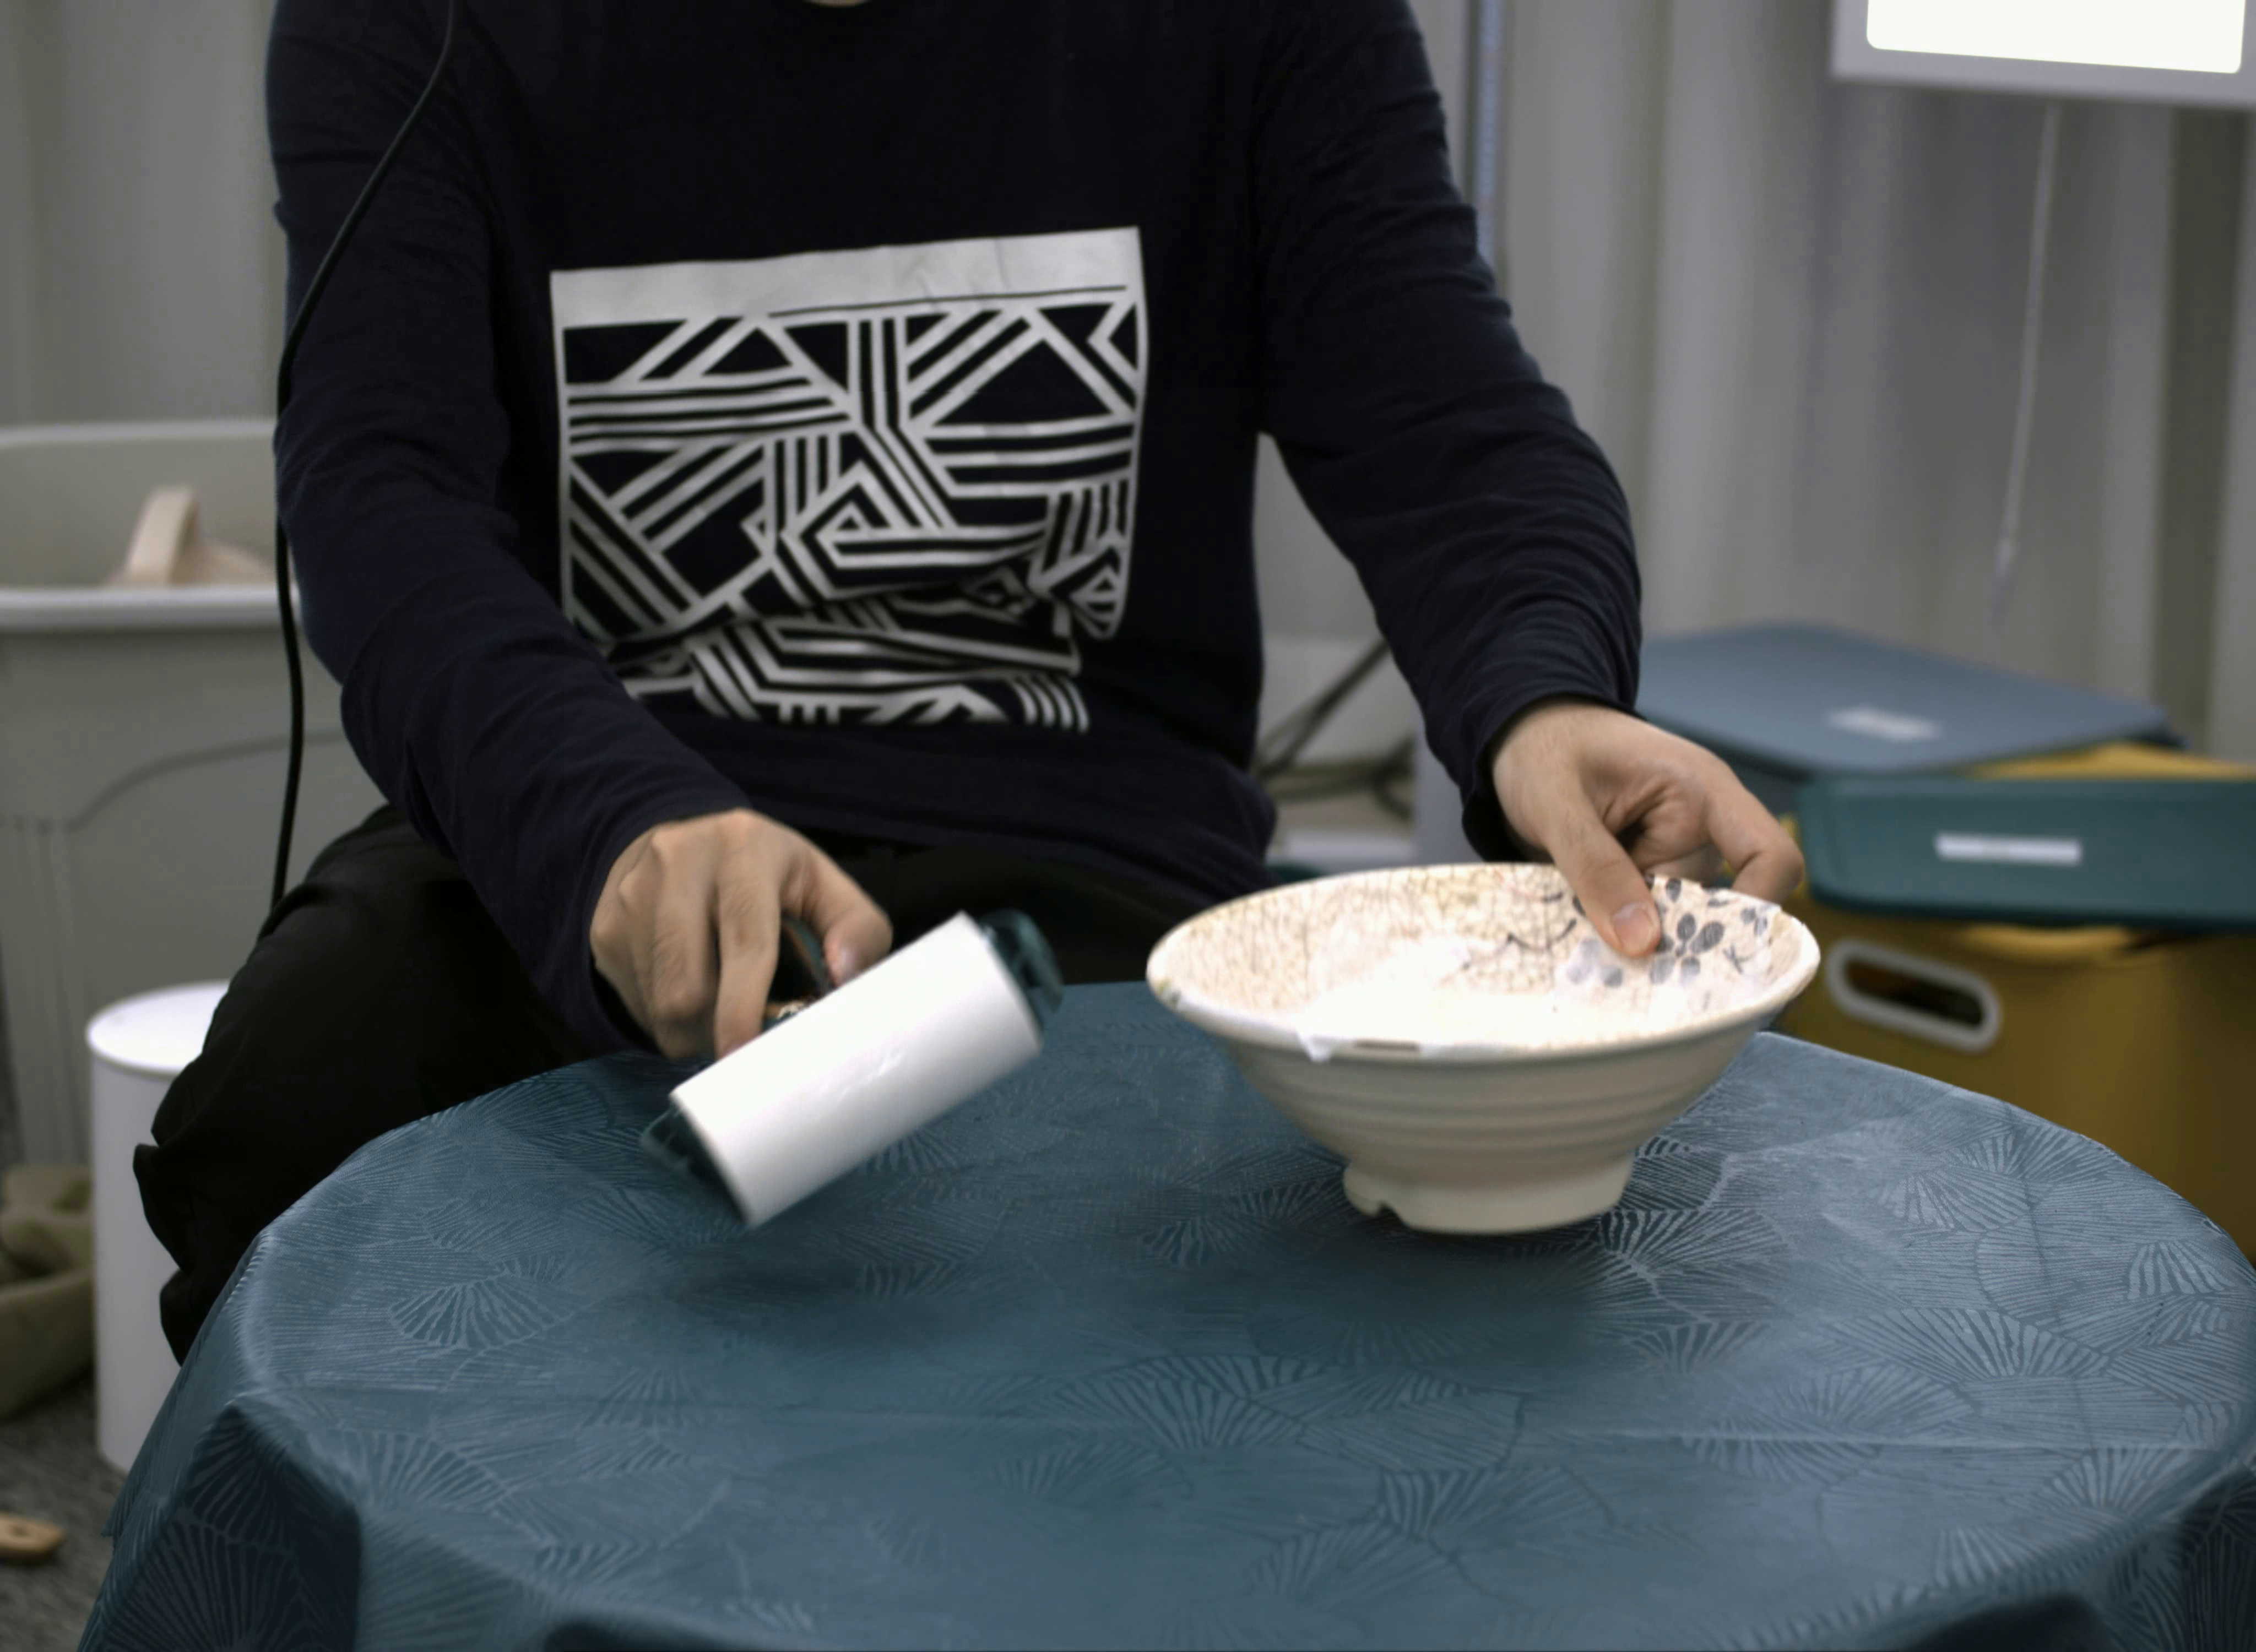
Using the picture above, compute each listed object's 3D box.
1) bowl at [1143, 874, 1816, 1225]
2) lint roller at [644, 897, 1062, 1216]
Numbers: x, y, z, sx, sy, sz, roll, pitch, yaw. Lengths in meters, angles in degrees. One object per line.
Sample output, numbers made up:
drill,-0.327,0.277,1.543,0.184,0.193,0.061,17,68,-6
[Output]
bowl,0.106,0.072,1.598,0.203,0.078,0.203,0,11,1
lint roller,-0.102,0.047,1.588,0.134,0.049,0.178,-33,27,-10
